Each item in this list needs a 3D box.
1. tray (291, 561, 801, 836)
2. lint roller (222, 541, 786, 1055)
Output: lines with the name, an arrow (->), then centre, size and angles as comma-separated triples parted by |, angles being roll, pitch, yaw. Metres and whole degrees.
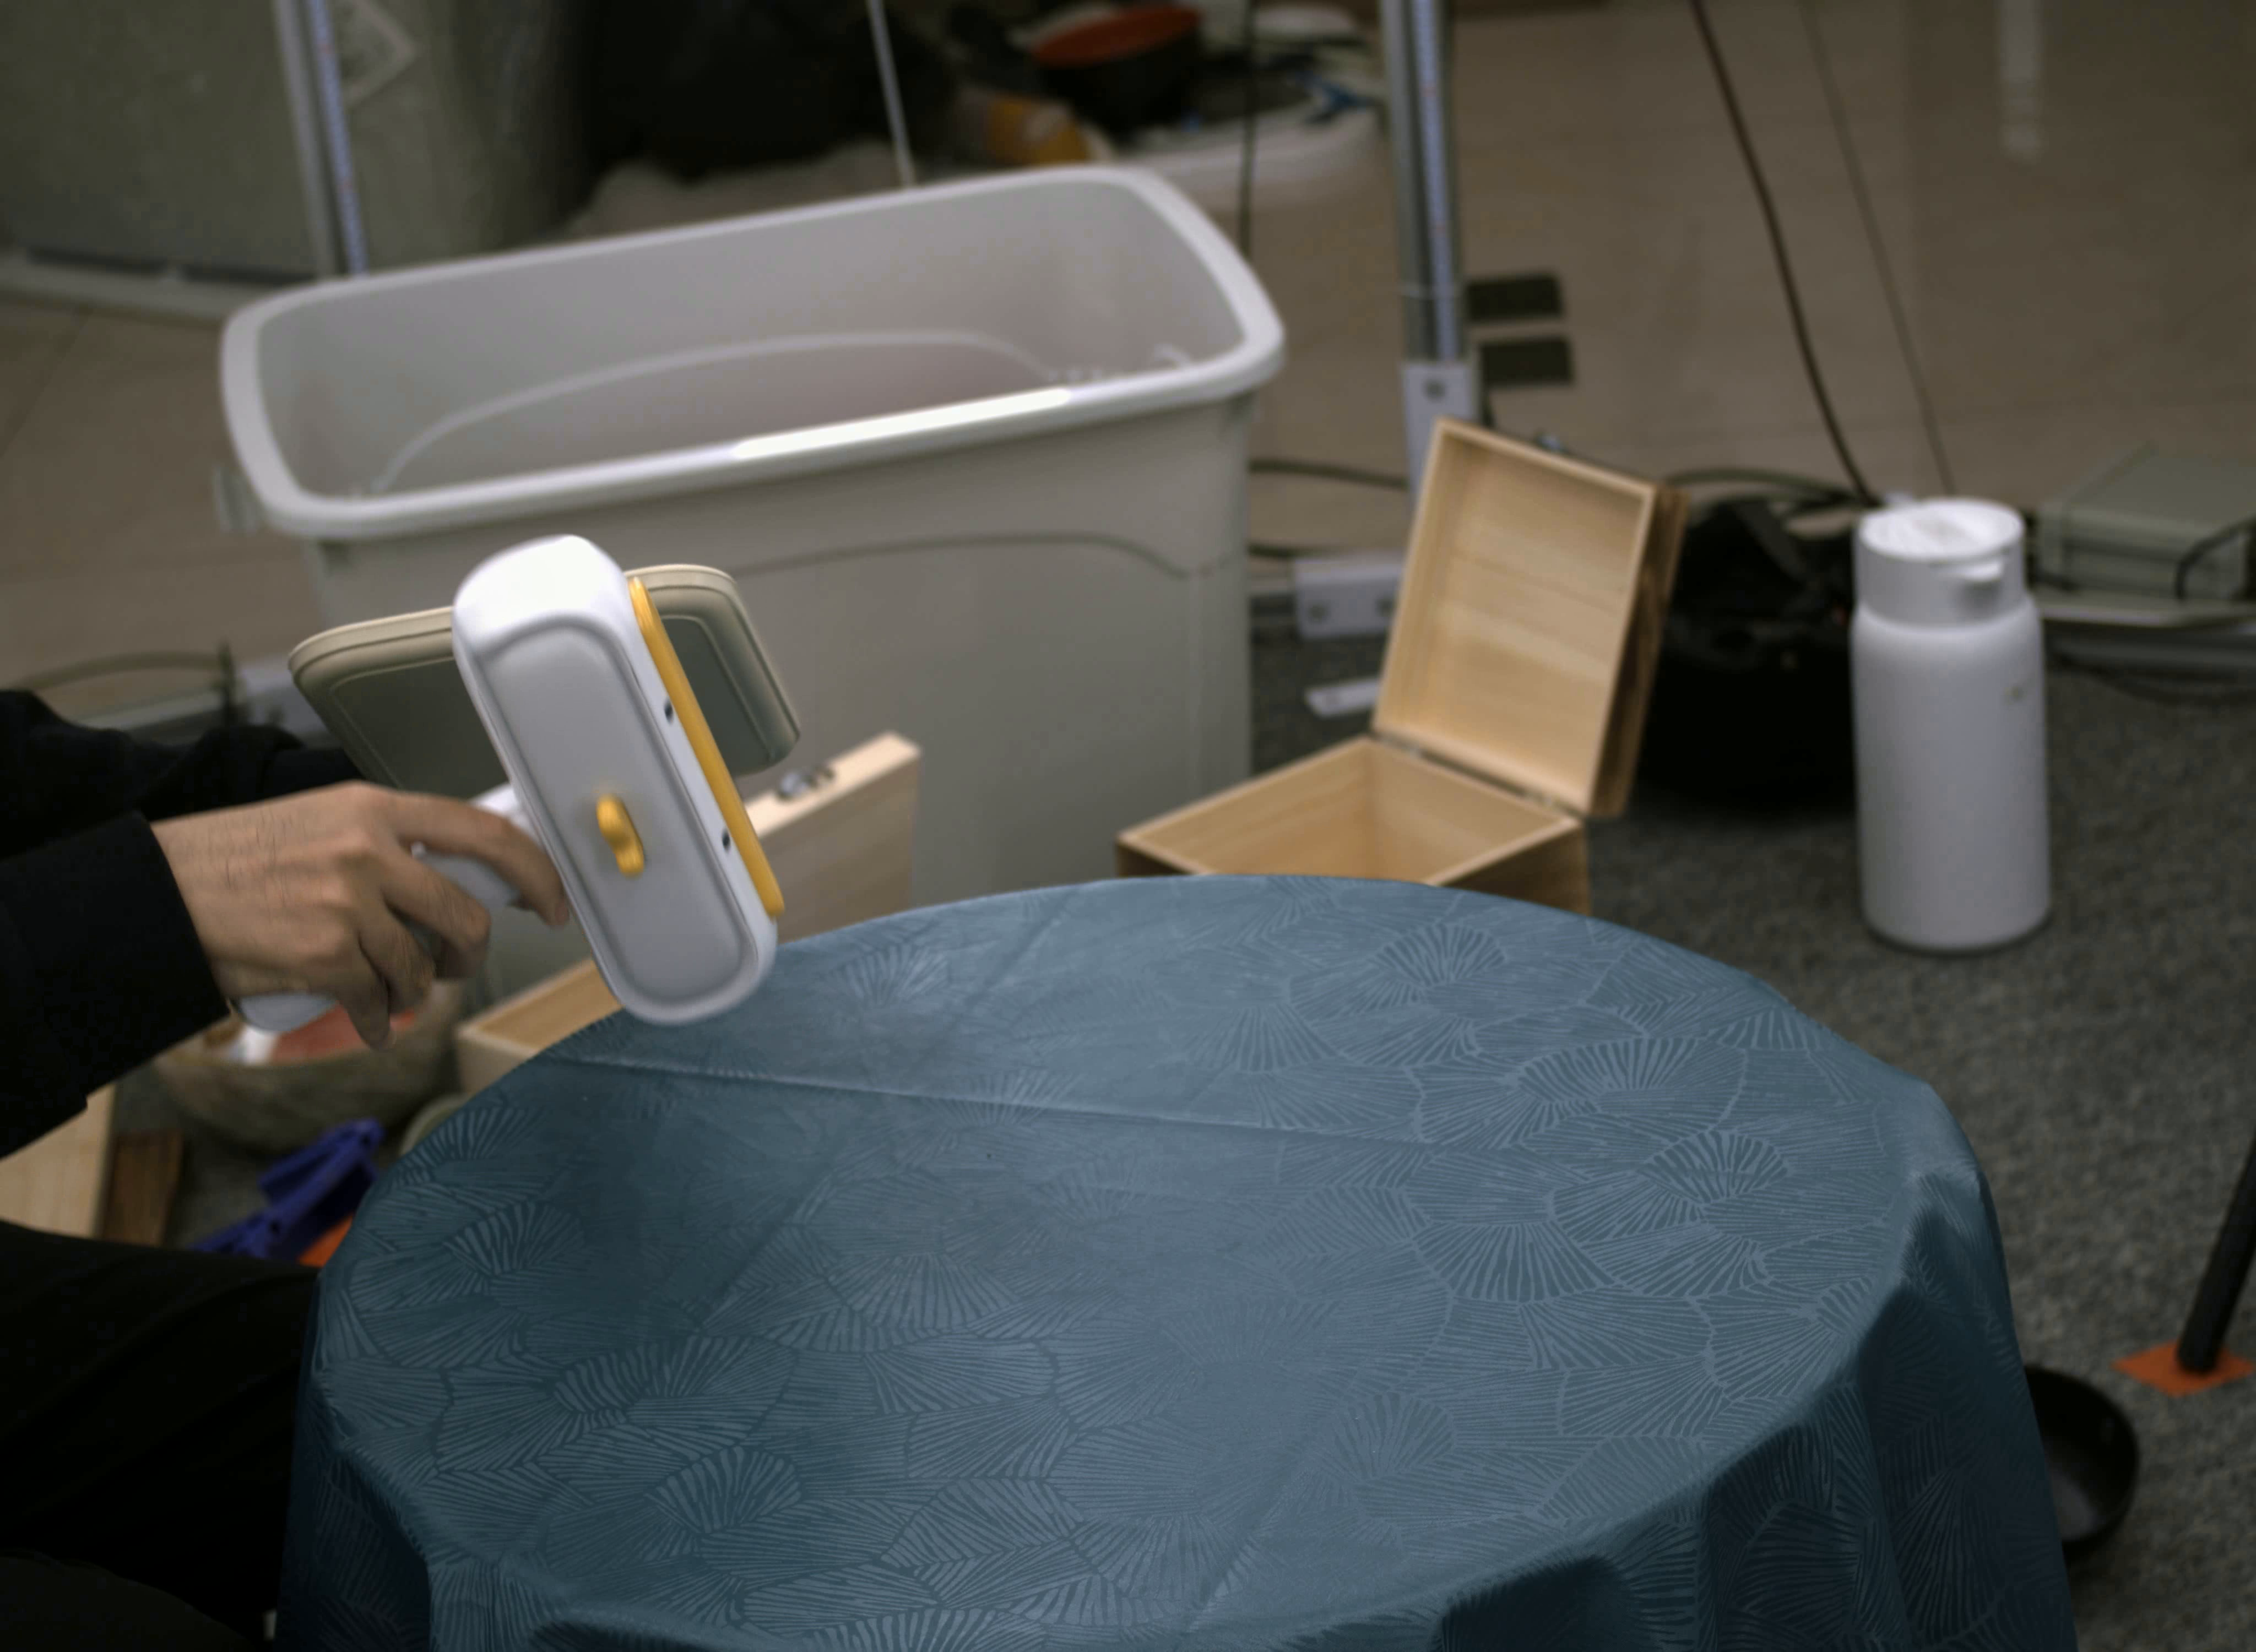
tray -> -0.219, -0.045, 2.182 | 0.171, 0.017, 0.242 | -12, -16, 2
lint roller -> -0.231, 0.015, 1.982 | 0.192, 0.196, 0.073 | -26, 39, 0
